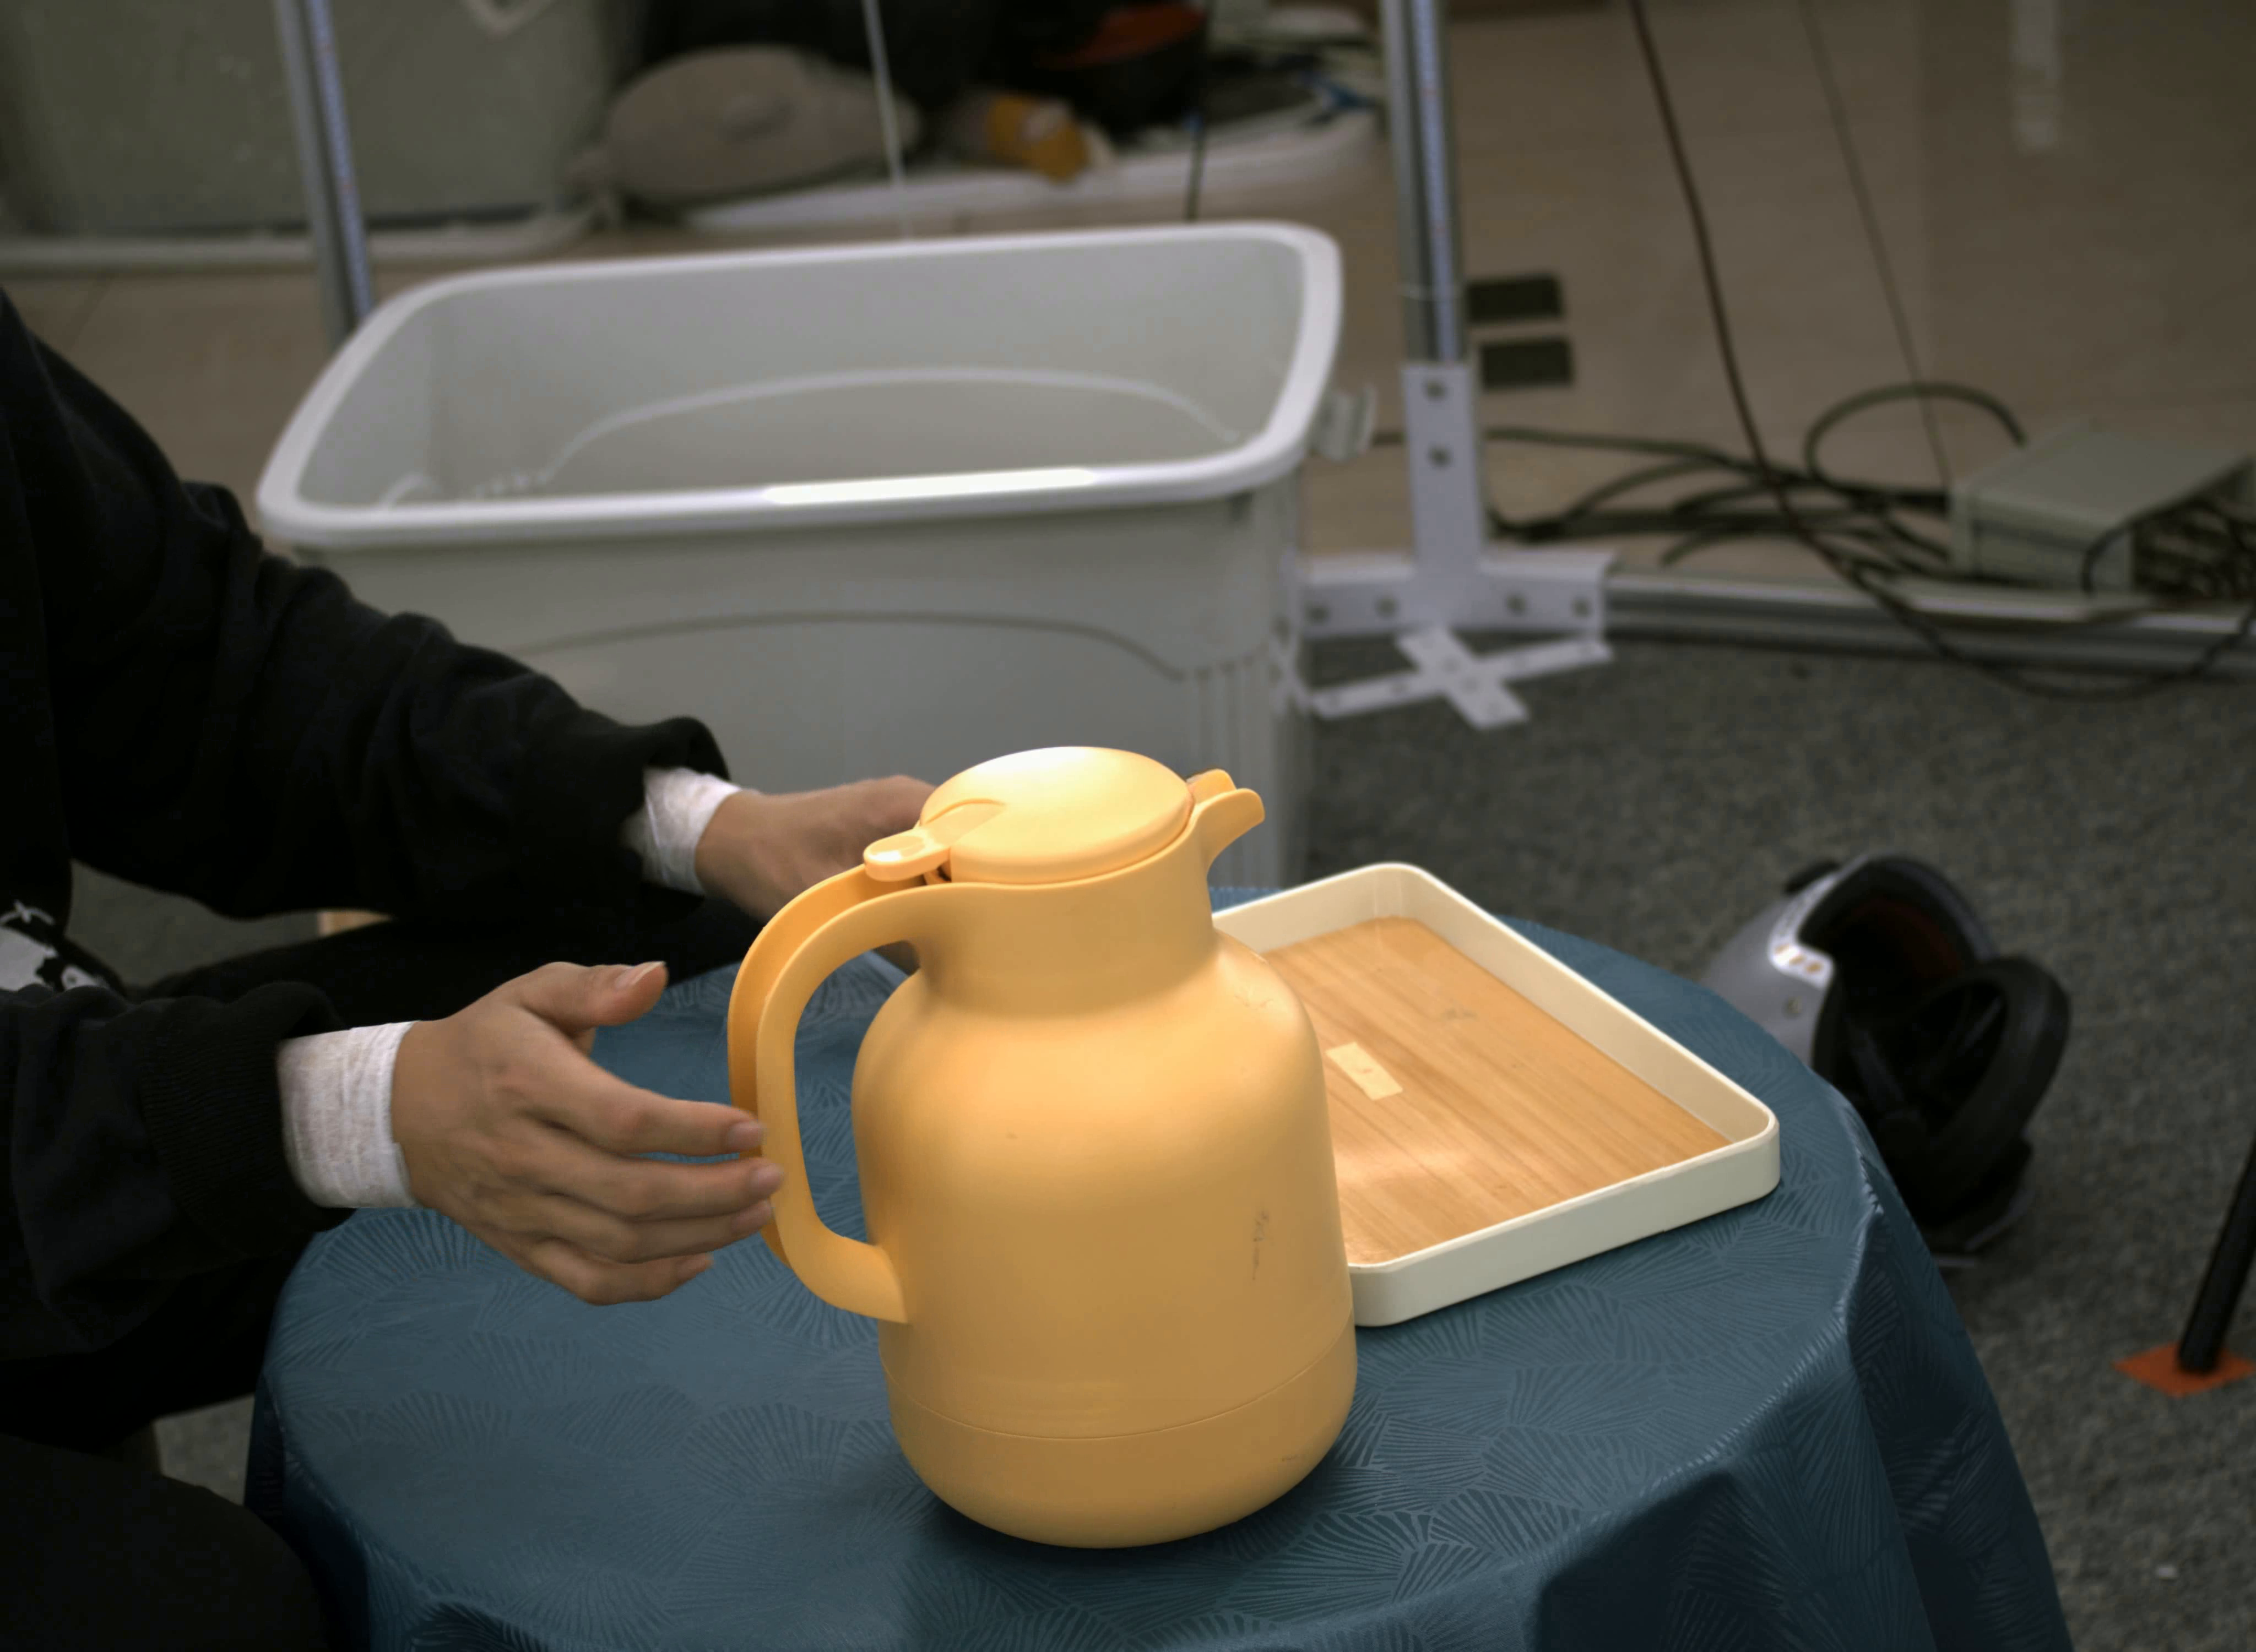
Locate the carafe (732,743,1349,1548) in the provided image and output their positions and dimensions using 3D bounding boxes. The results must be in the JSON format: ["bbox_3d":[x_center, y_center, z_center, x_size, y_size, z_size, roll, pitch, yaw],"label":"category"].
[{"bbox_3d":[-0.031,0.107,1.911,0.201,0.264,0.161,-14,24,-19],"label":"carafe"}]

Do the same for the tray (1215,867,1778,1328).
[{"bbox_3d":[0.097,0.099,2.181,0.191,0.028,0.297,-16,27,-22],"label":"tray"}]
